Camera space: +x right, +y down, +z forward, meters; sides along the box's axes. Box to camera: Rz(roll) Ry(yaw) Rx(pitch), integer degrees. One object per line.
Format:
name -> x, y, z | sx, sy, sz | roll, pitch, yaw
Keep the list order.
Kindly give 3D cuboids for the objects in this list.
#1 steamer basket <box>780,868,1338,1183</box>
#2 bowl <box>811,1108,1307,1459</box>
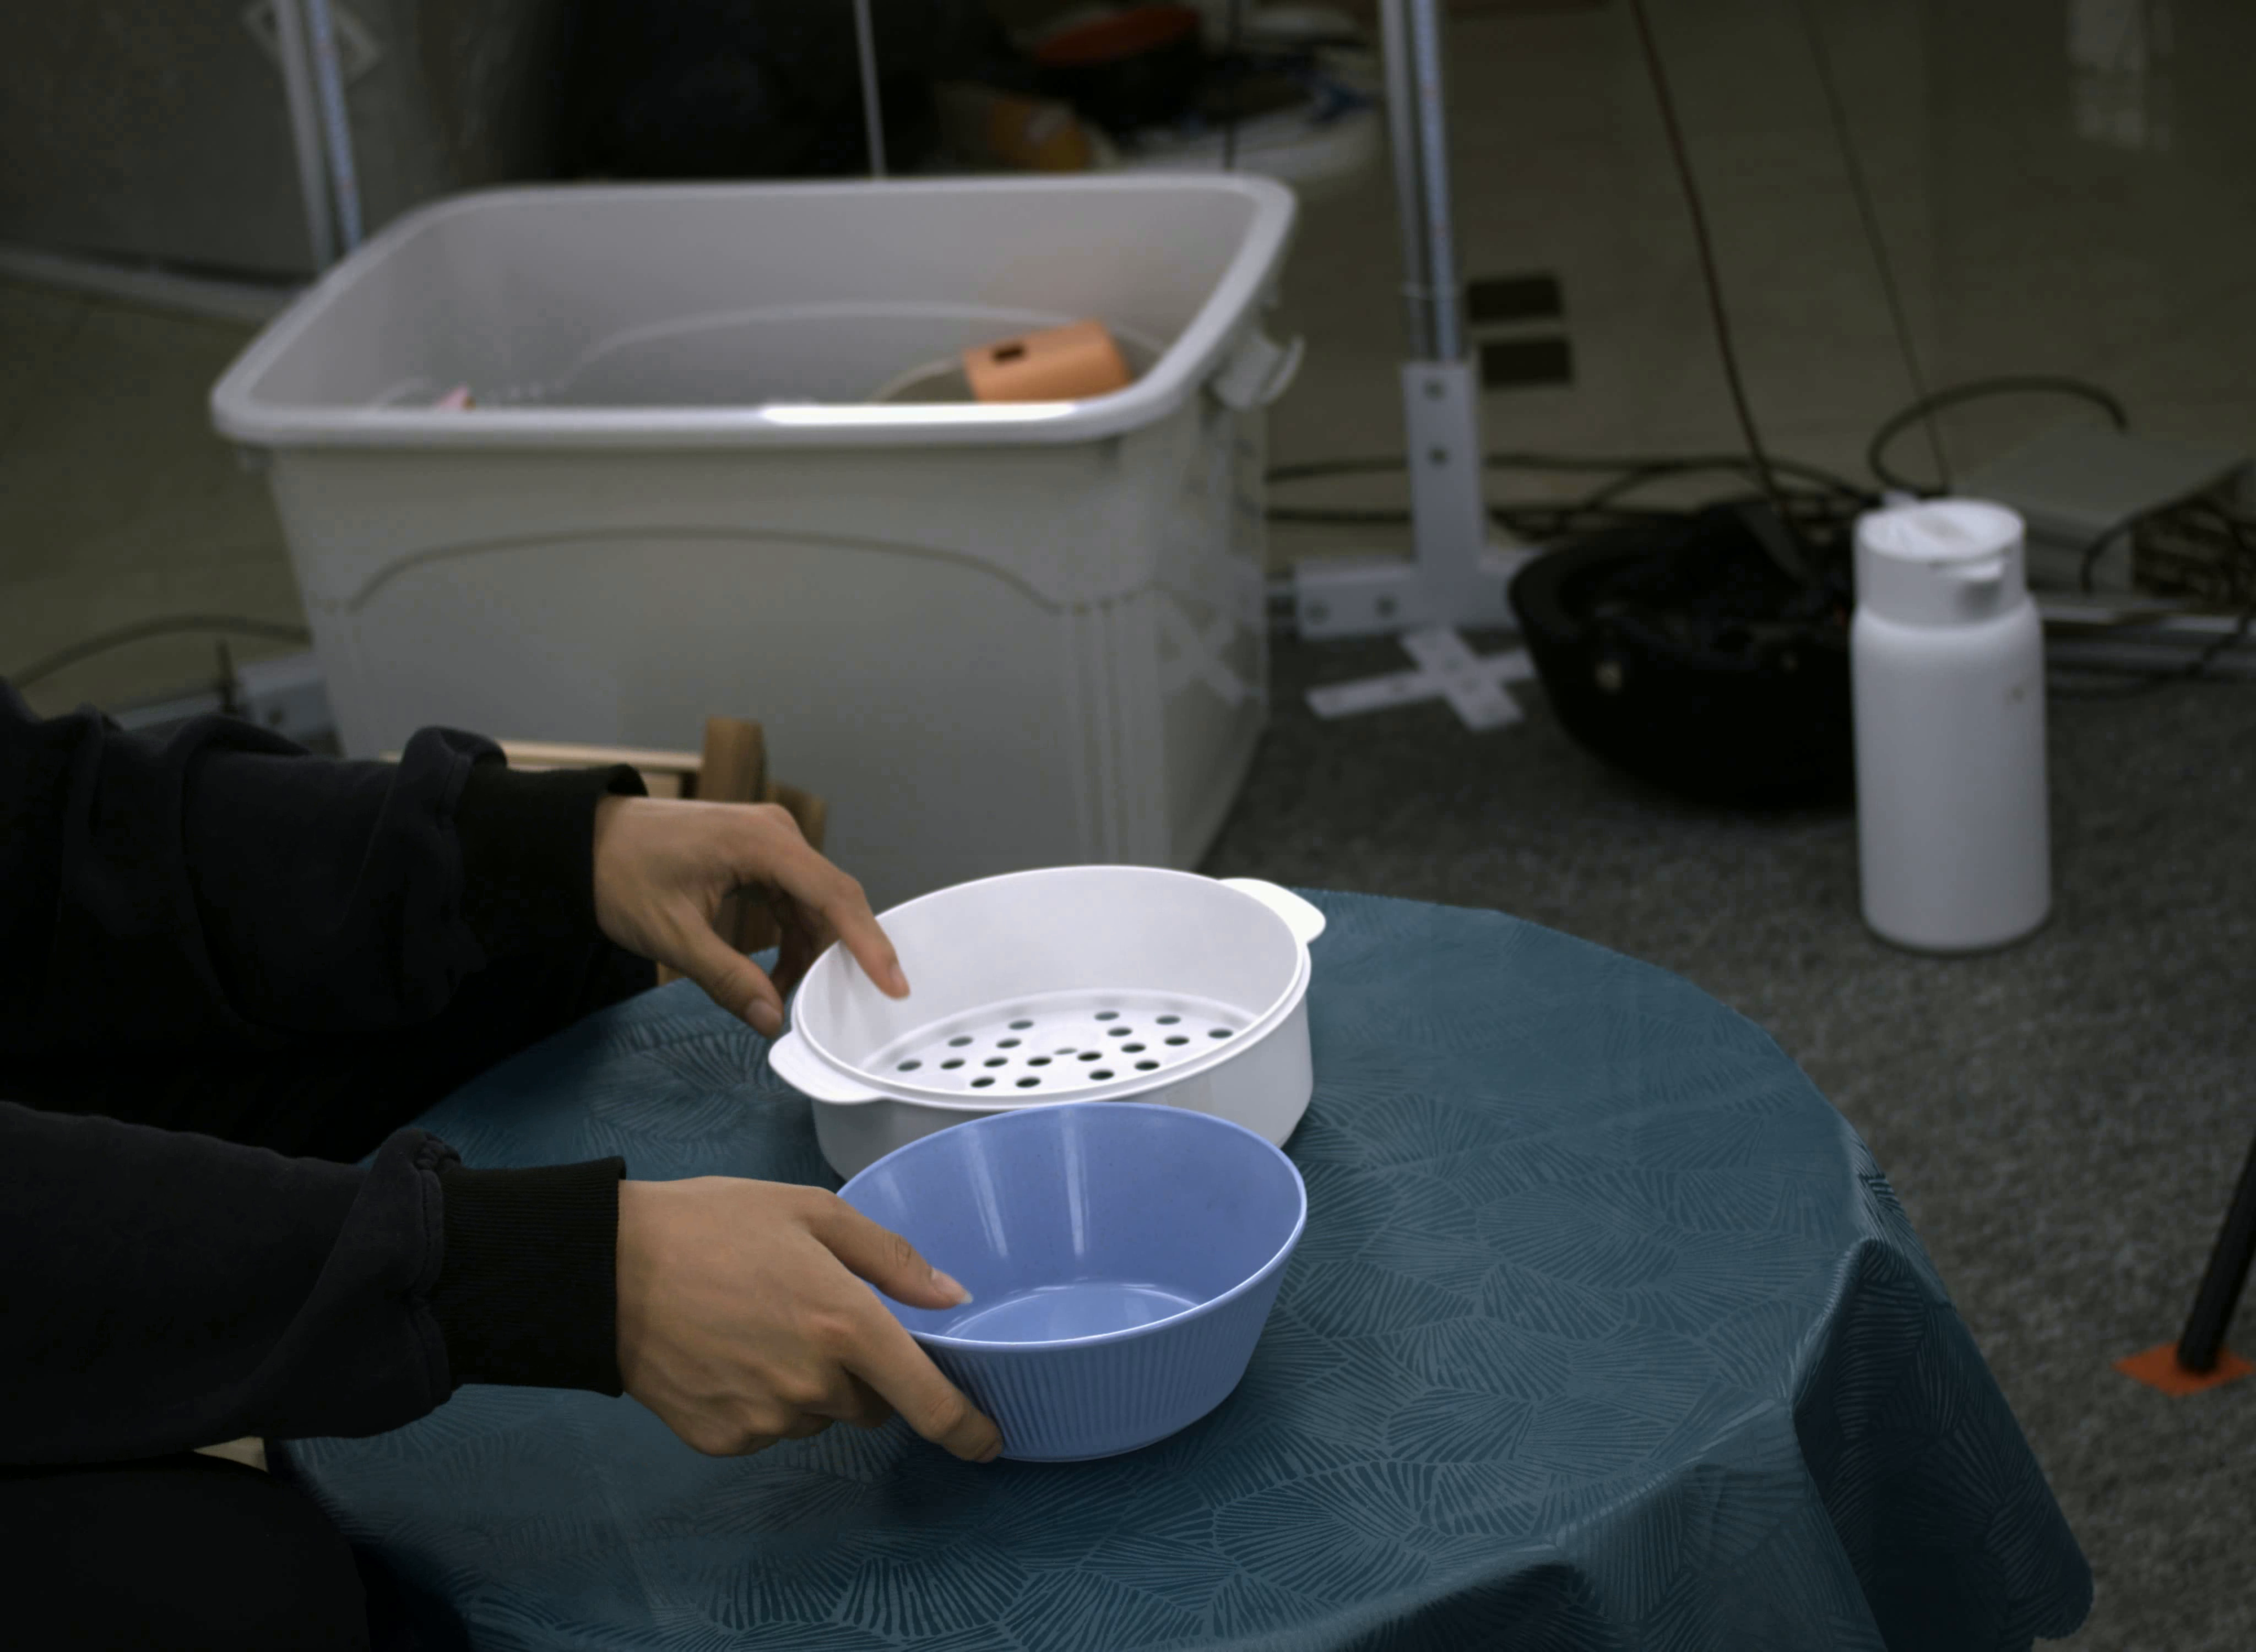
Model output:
steamer basket -> -0.023, 0.086, 2.190 | 0.229, 0.070, 0.200 | -17, 27, -27
bowl -> -0.022, 0.168, 2.011 | 0.176, 0.071, 0.173 | -4, 25, 2
